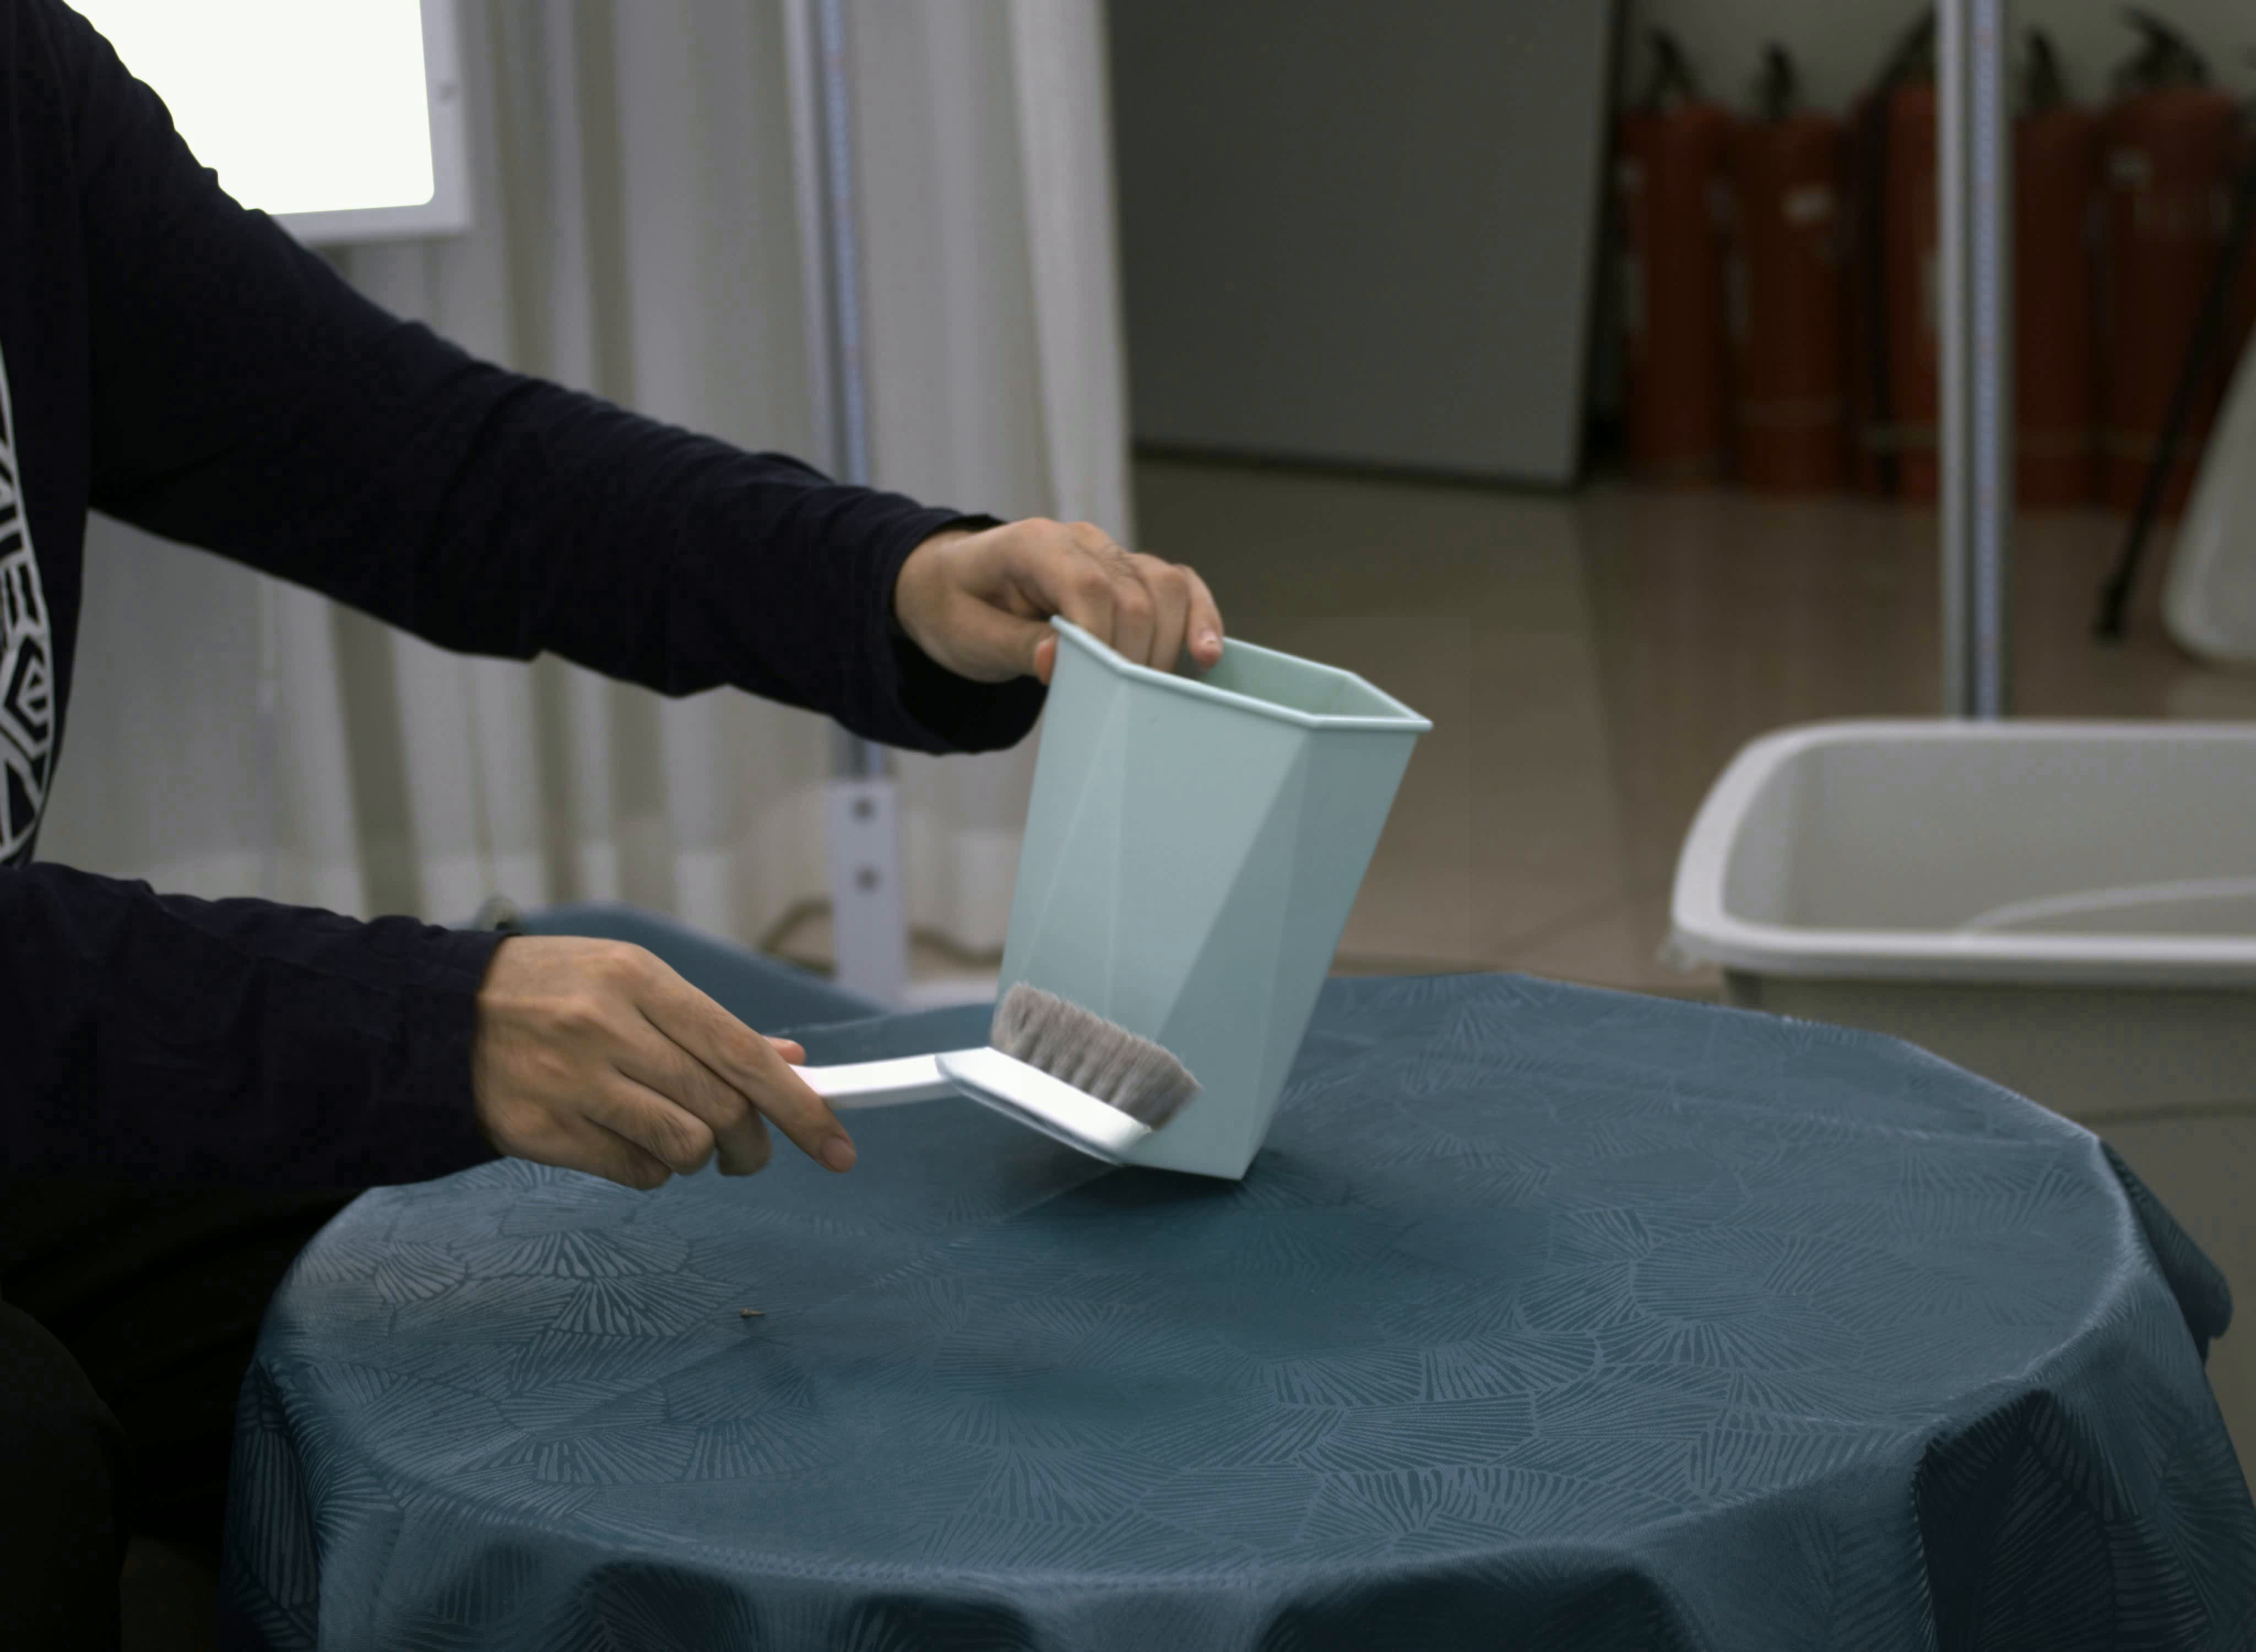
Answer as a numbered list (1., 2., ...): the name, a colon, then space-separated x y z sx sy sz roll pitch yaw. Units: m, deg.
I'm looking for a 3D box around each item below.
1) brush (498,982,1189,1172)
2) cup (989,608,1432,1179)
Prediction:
1. brush: -0.091 0.071 1.666 0.245 0.050 0.034 3 -22 33
2. cup: 0.019 0.023 1.780 0.112 0.165 0.132 9 11 -25
